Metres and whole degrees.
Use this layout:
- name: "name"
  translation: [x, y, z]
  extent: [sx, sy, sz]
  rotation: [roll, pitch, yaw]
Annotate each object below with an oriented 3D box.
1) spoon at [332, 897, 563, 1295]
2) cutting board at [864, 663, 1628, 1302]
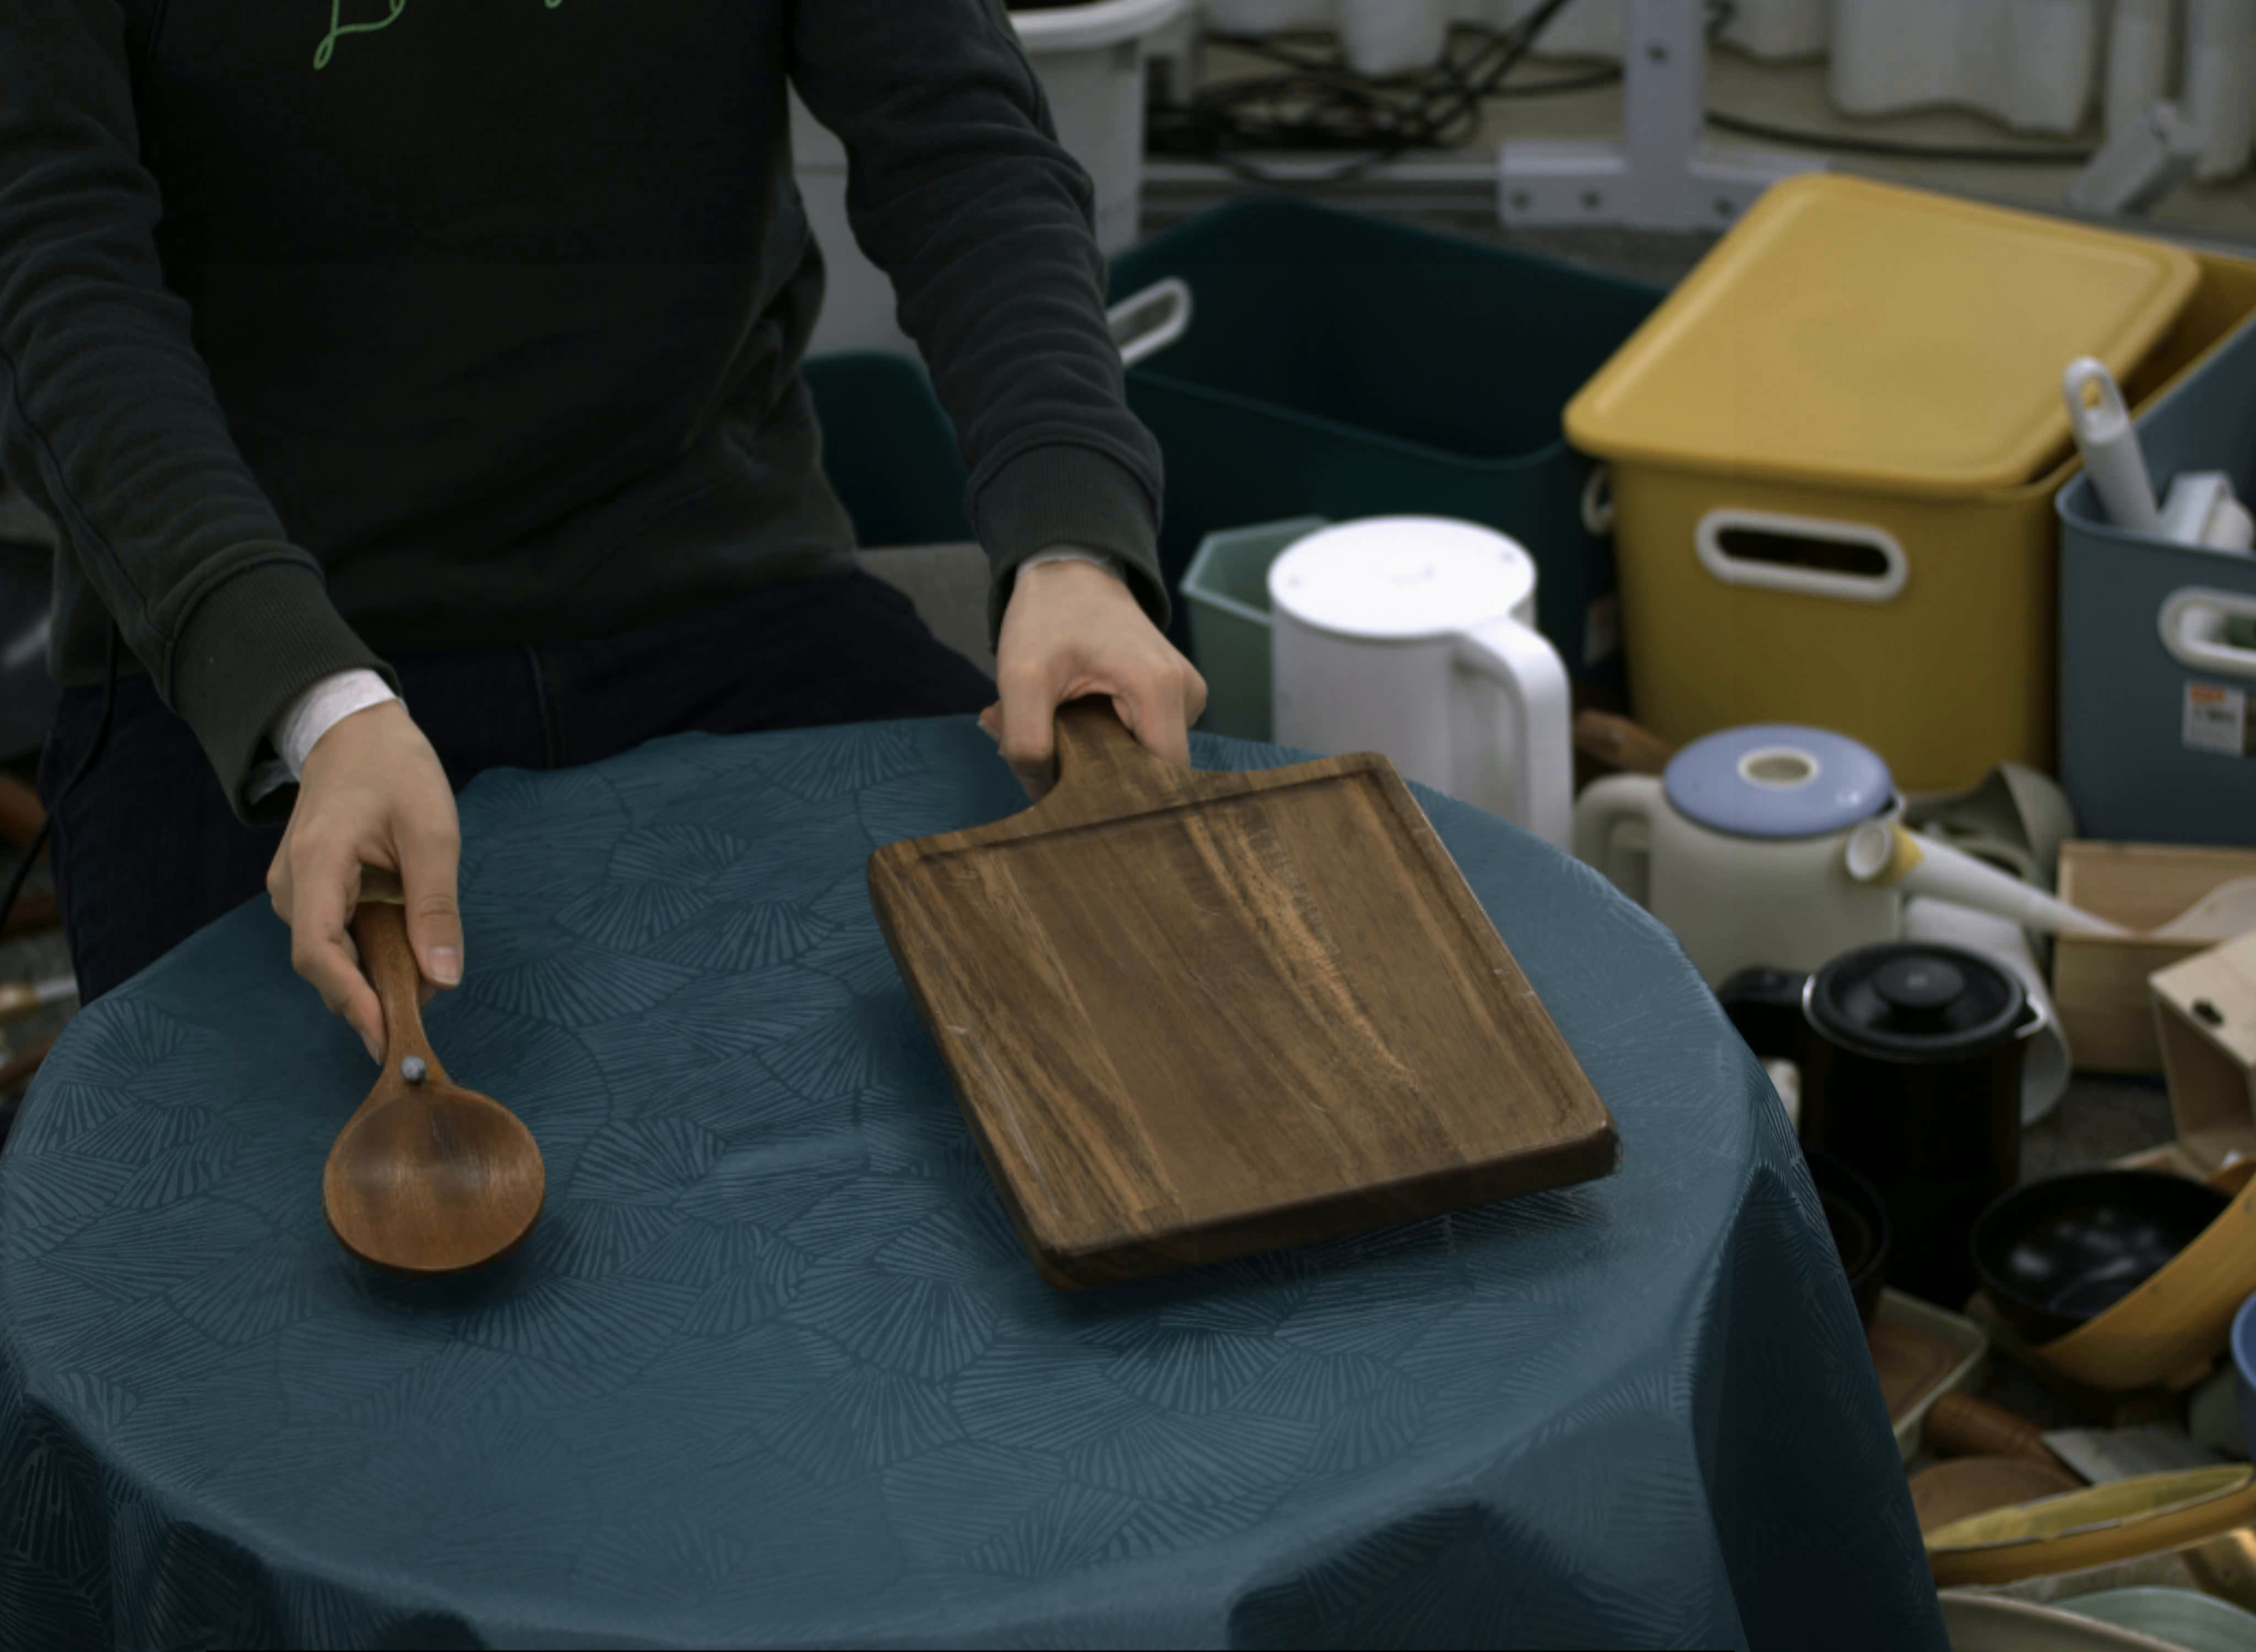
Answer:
- name: "spoon"
  translation: [-0.225, 0.092, 1.884]
  extent: [0.075, 0.017, 0.219]
  rotation: [-1, 34, -3]
- name: "cutting board"
  translation: [0.021, 0.037, 1.940]
  extent: [0.201, 0.023, 0.356]
  rotation: [-12, 33, -12]
